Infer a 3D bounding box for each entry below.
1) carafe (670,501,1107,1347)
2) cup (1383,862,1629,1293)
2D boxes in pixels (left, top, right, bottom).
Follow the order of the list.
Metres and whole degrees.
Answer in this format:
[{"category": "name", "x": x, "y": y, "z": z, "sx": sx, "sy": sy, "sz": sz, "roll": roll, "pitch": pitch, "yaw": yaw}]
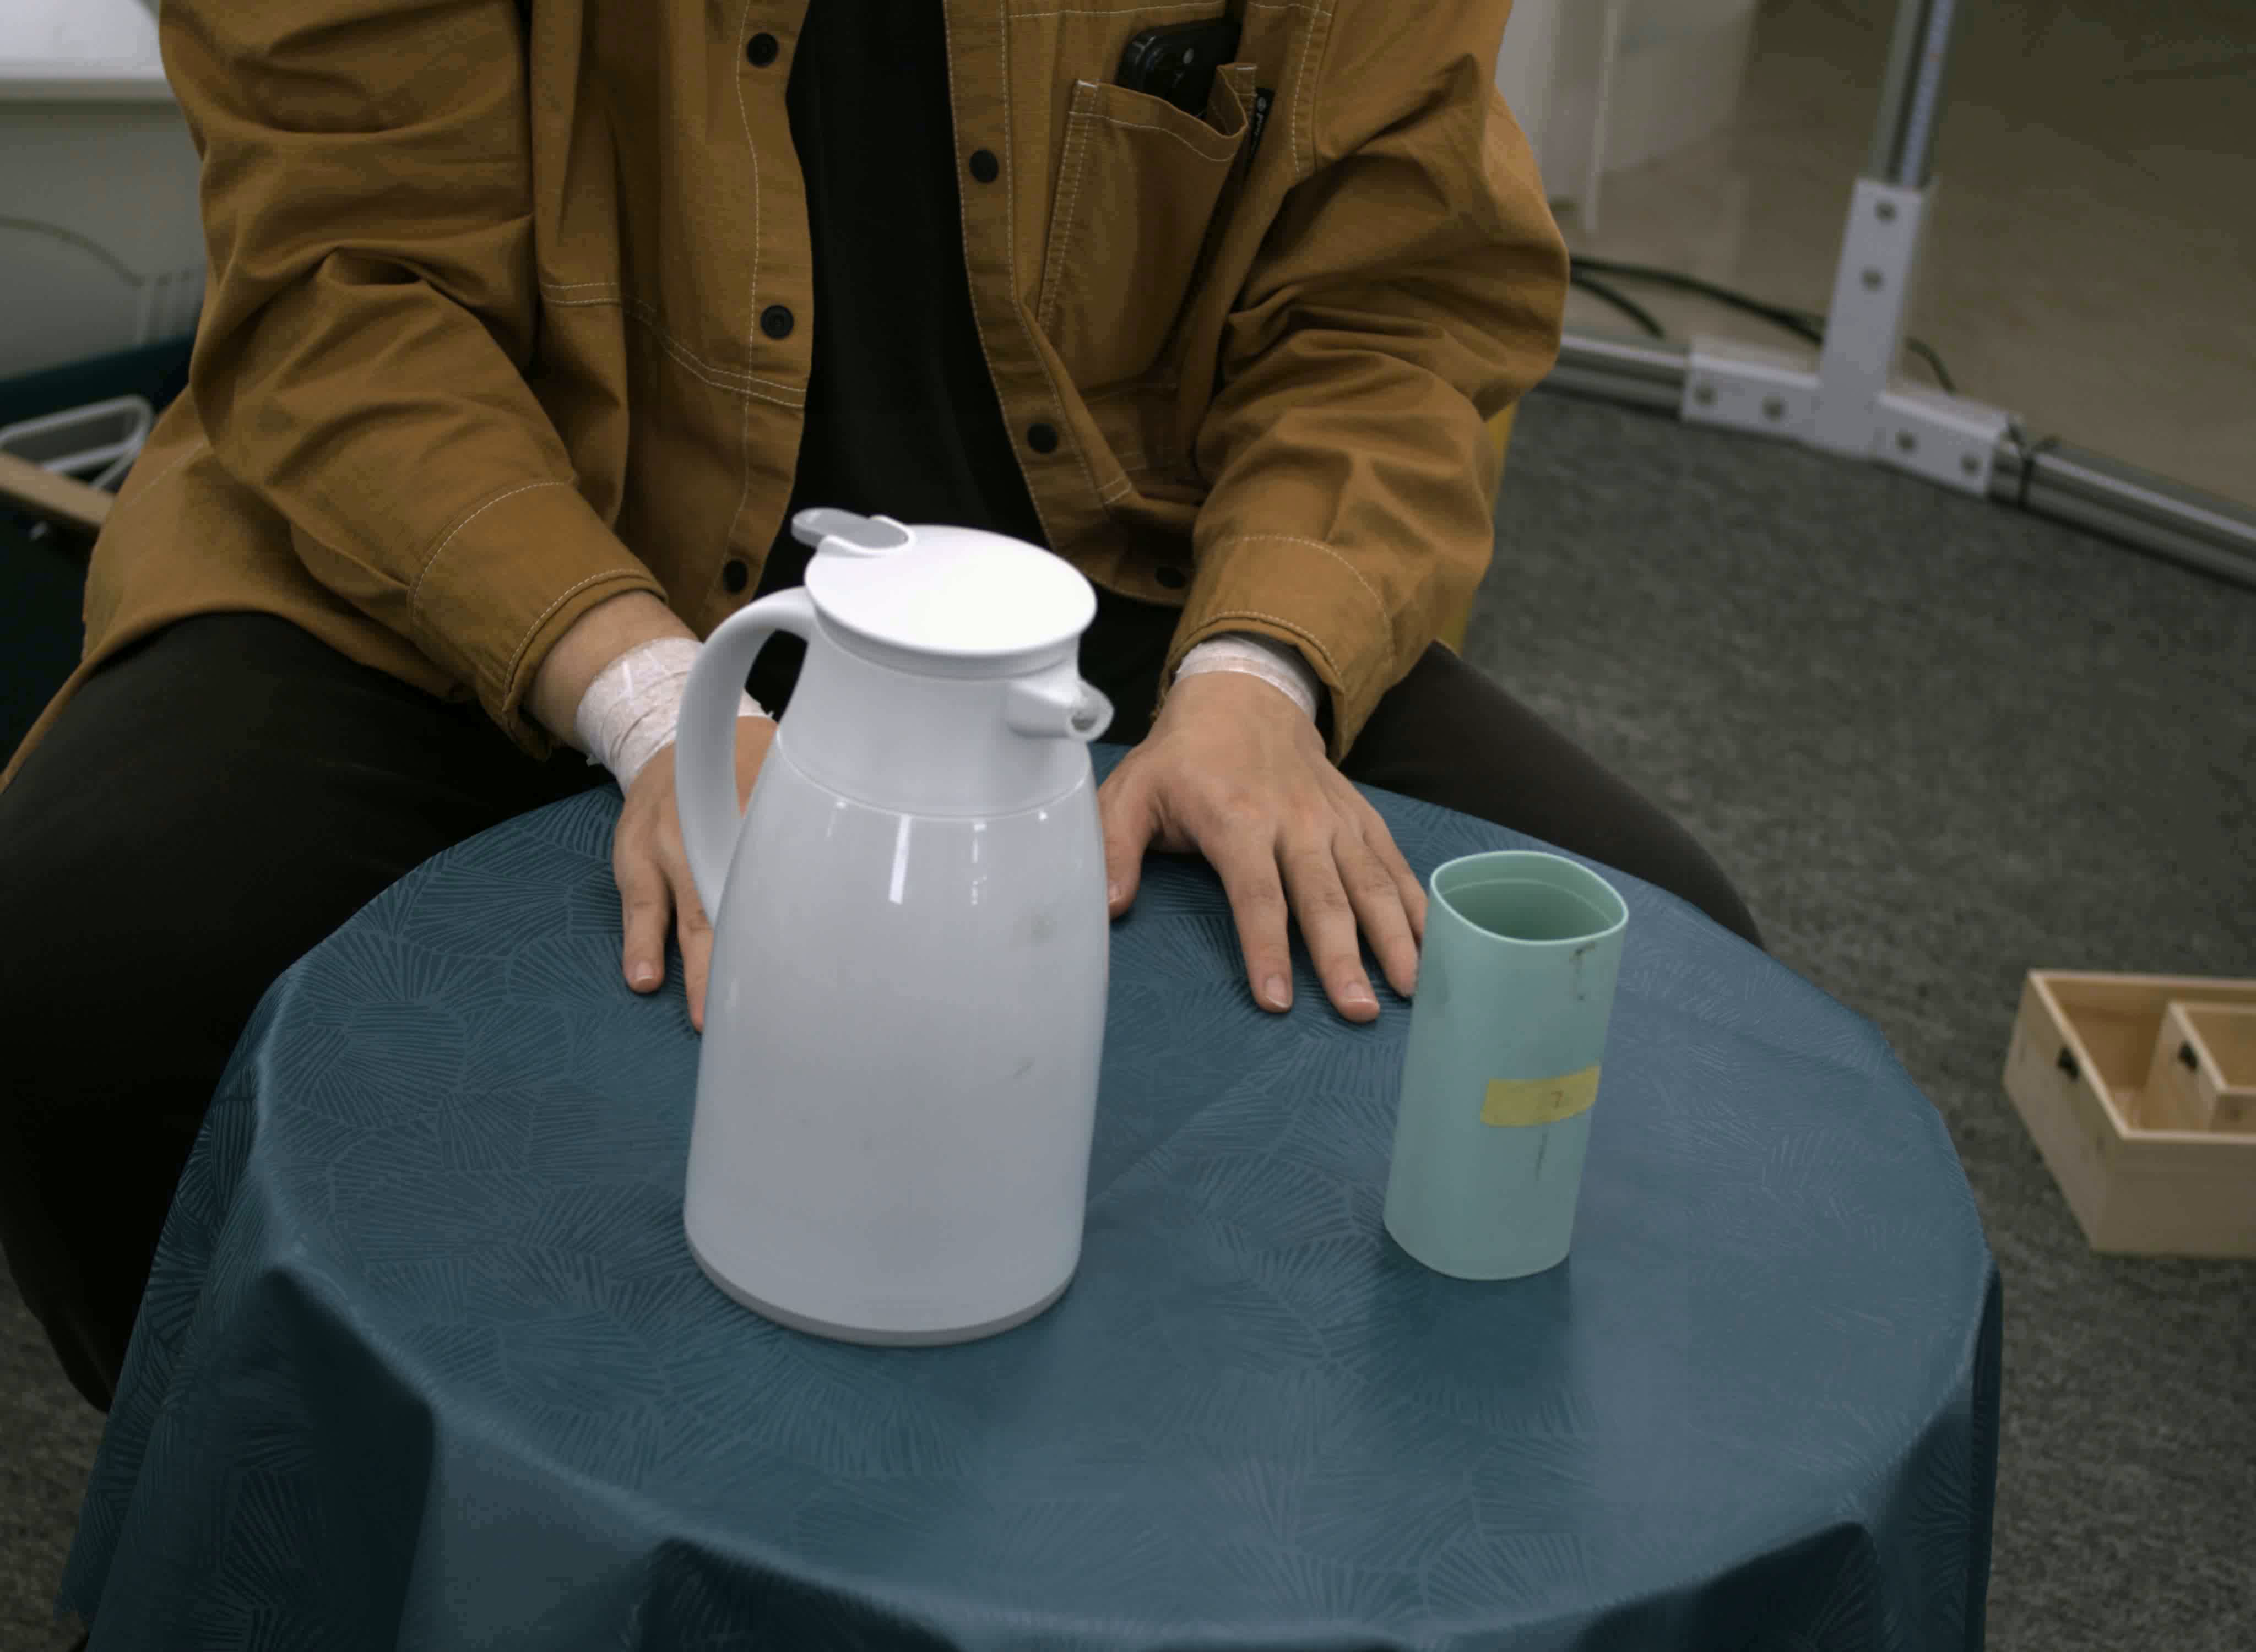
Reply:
[{"category": "carafe", "x": -0.084, "y": 0.021, "z": 1.716, "sx": 0.169, "sy": 0.248, "sz": 0.132, "roll": 25, "pitch": 32, "yaw": 33}, {"category": "cup", "x": 0.124, "y": 0.083, "z": 1.776, "sx": 0.066, "sy": 0.132, "sz": 0.067, "roll": 6, "pitch": 26, "yaw": -3}]
